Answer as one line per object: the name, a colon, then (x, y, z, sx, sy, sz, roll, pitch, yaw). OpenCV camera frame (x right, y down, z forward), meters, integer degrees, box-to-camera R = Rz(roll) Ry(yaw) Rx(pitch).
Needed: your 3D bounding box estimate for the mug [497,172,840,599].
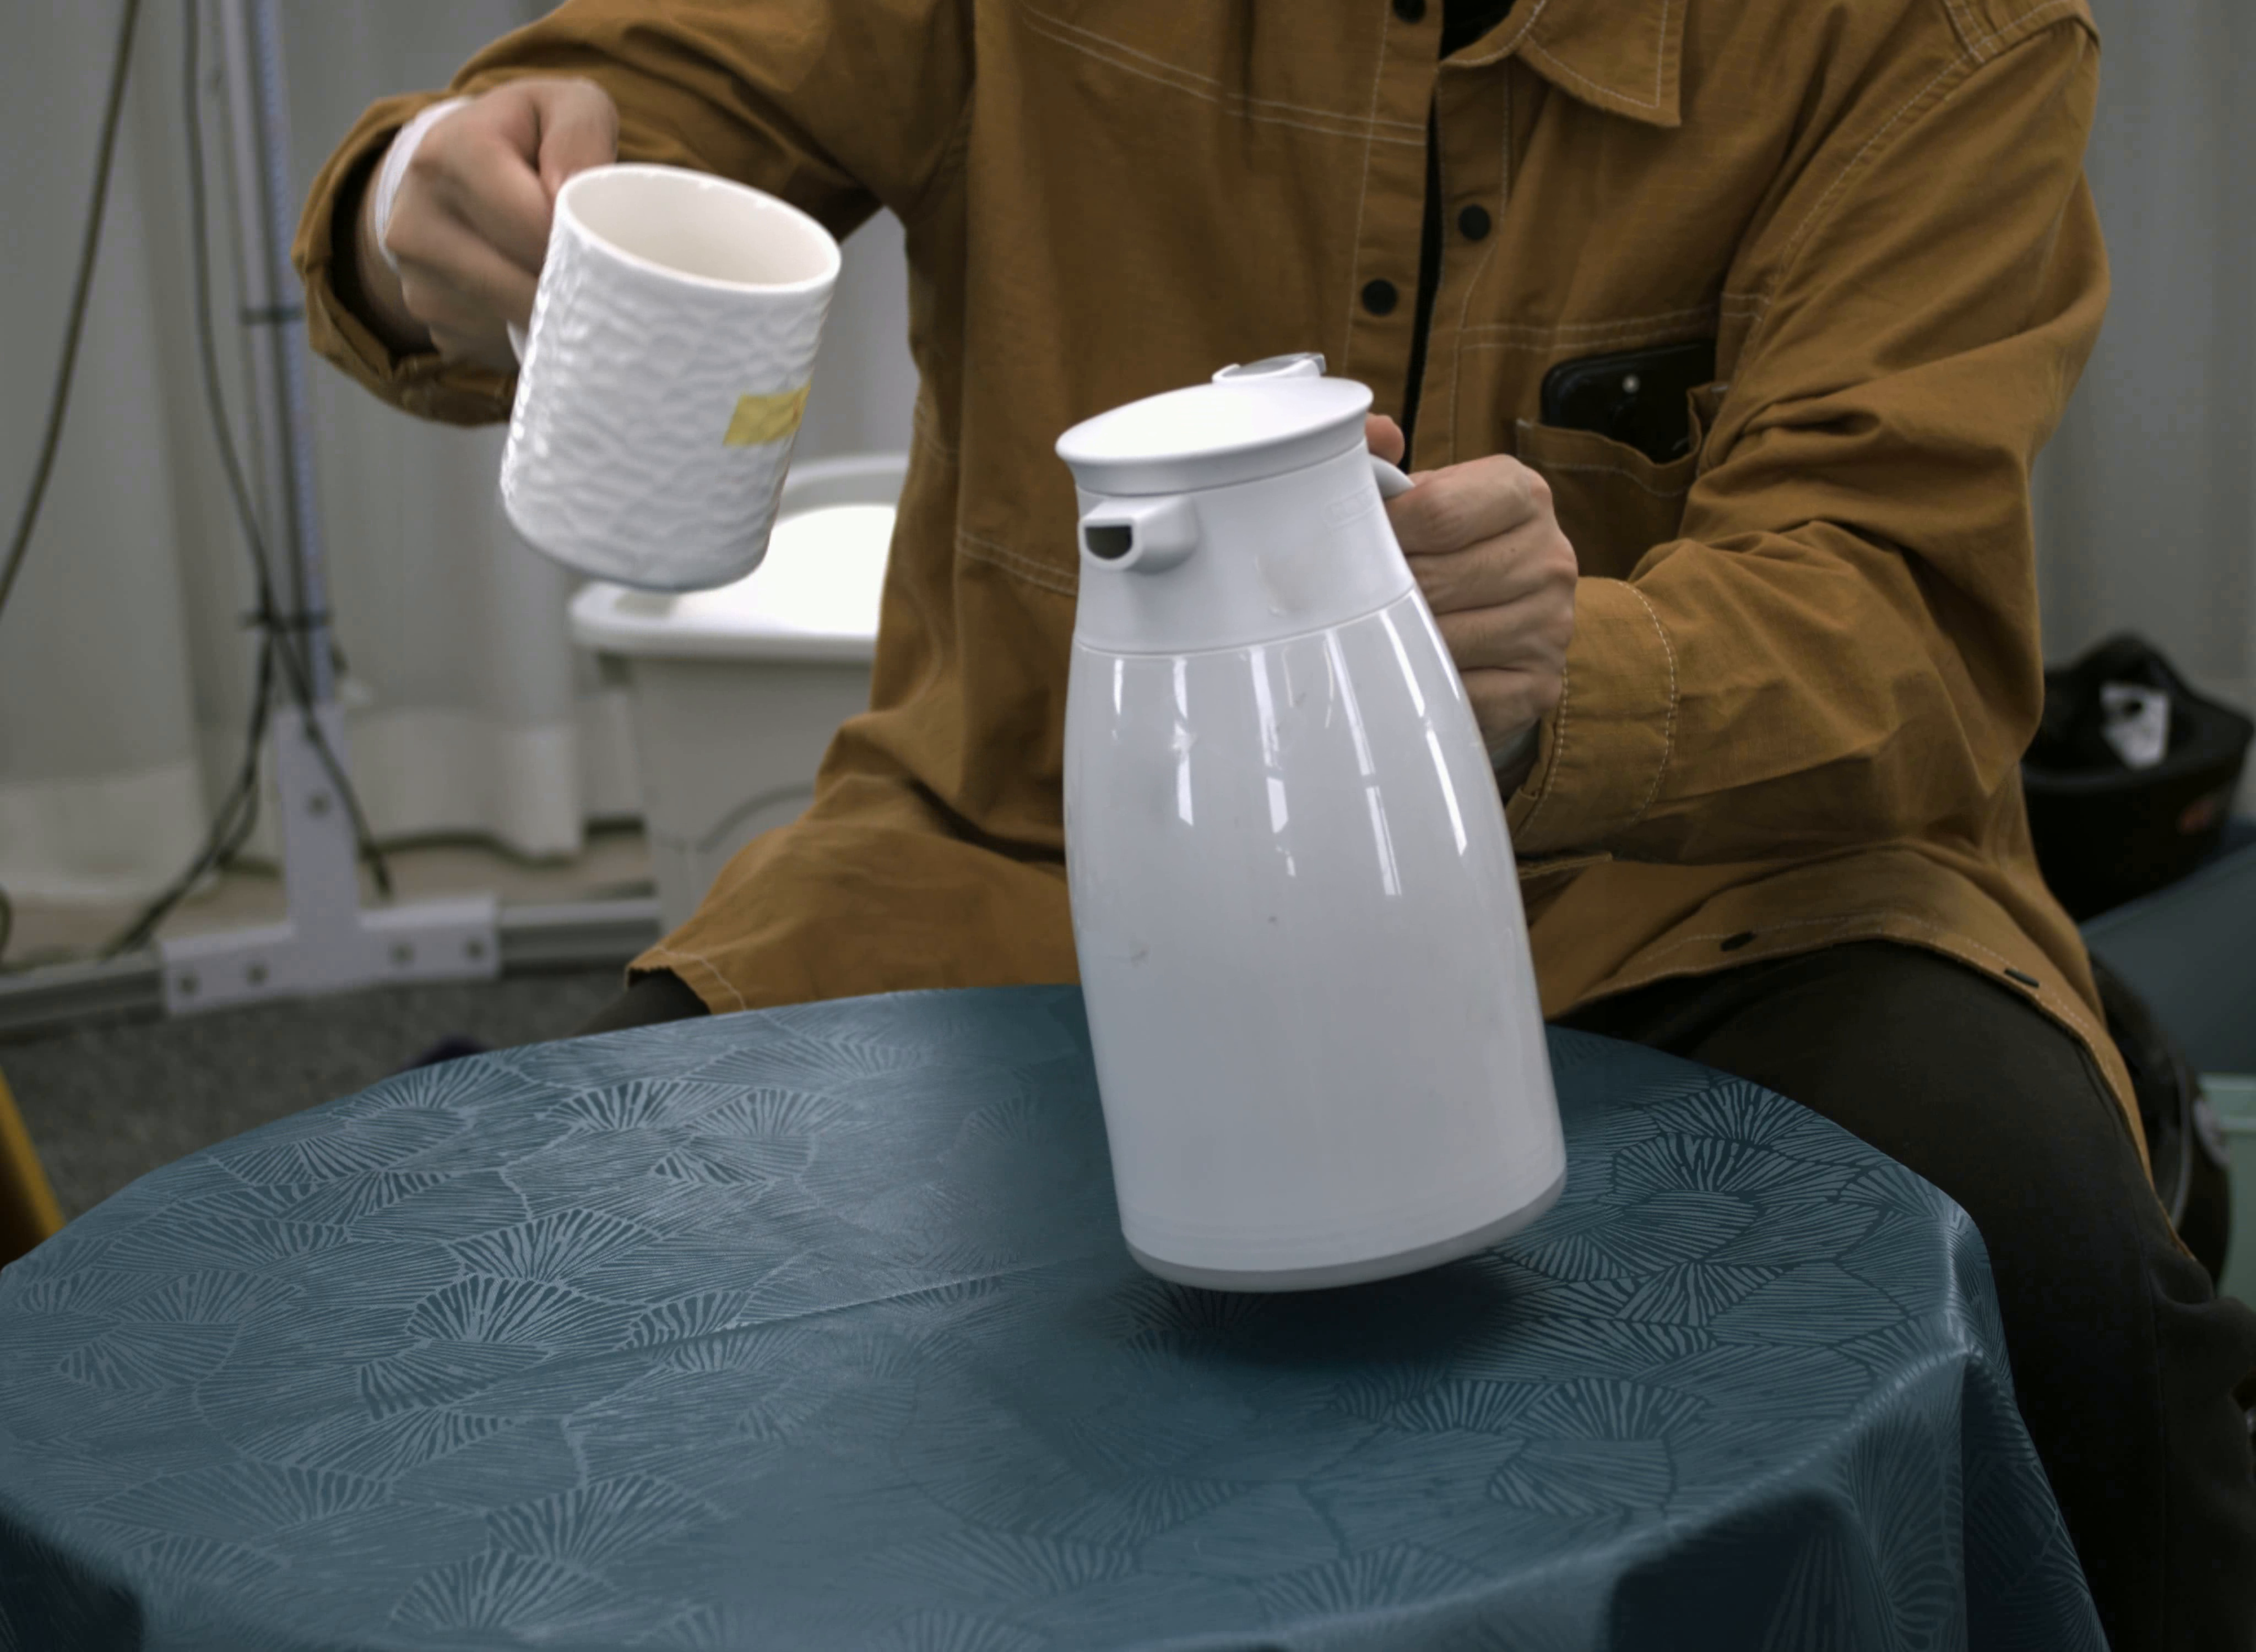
mug: (-0.148, -0.137, 1.634, 0.084, 0.101, 0.119, -9, 34, -42)

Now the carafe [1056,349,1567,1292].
carafe: (0.052, -0.010, 1.590, 0.132, 0.248, 0.168, -2, 15, 32)
